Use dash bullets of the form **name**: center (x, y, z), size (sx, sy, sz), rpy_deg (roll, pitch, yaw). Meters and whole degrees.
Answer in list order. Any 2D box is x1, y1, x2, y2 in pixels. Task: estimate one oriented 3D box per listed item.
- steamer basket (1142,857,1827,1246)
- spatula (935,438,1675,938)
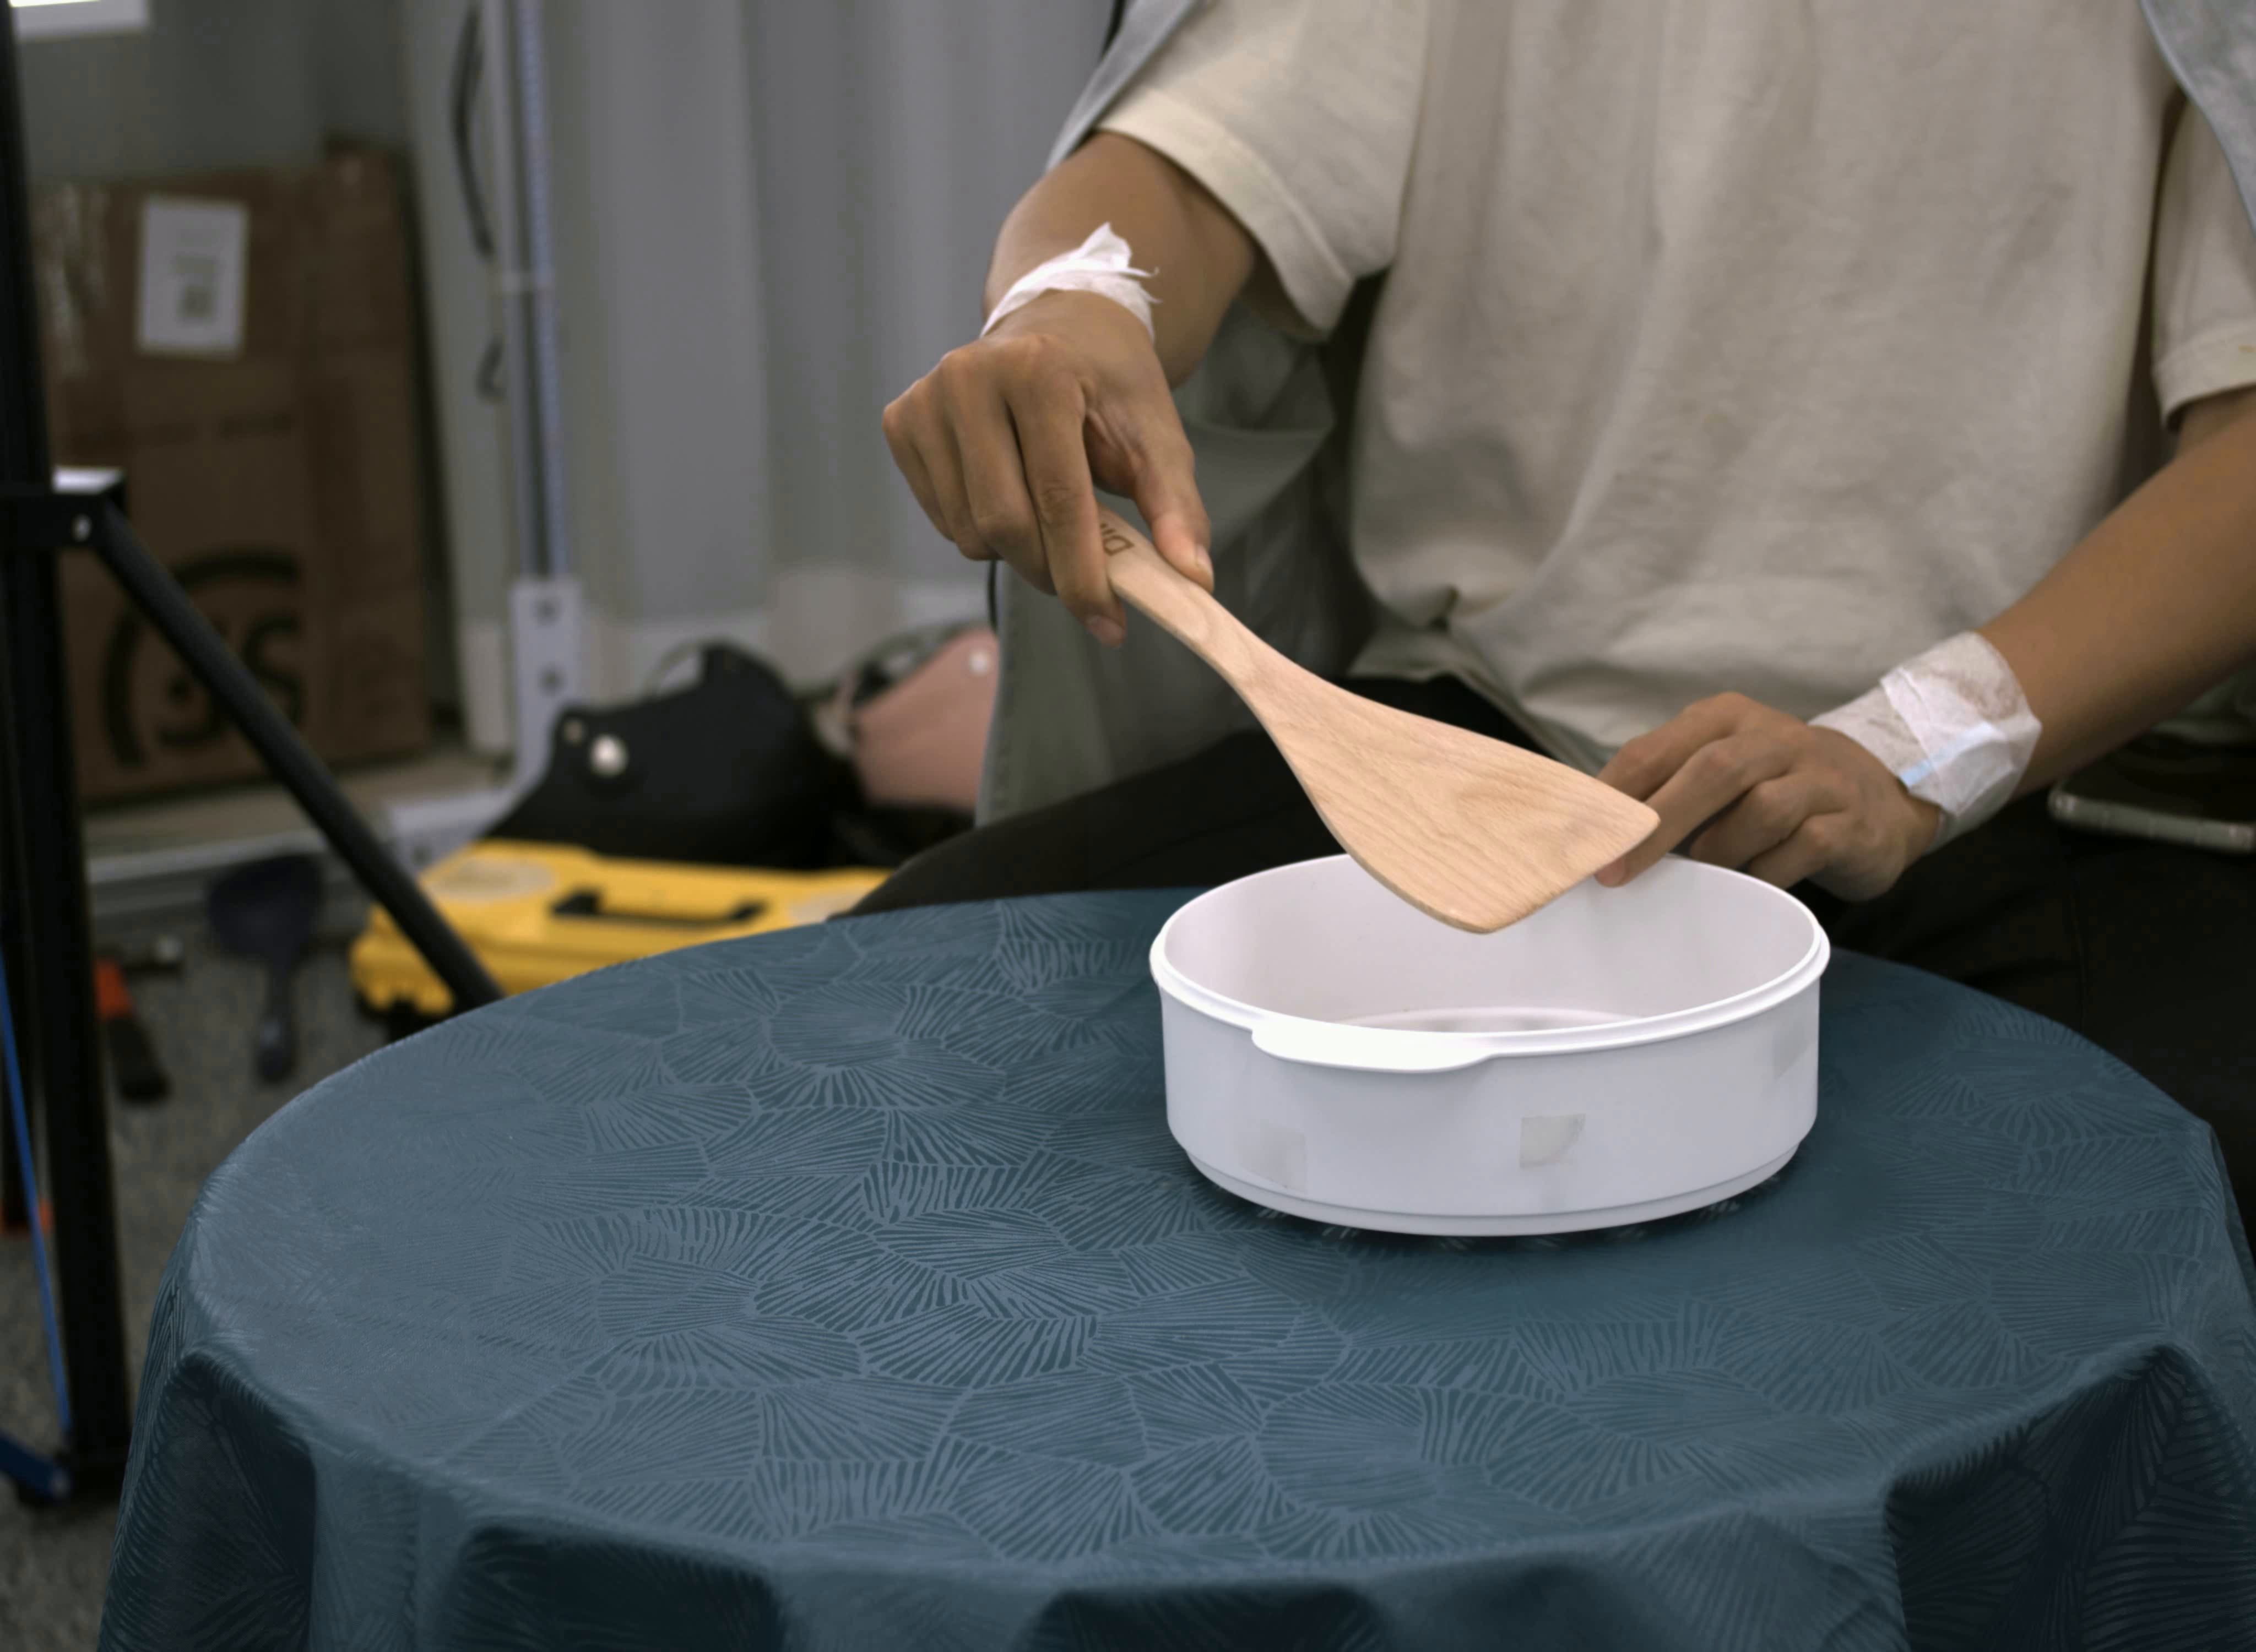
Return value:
- **steamer basket**: center (0.105, 0.066, 1.568), size (0.205, 0.069, 0.227), rpy_deg (6, 17, 25)
- **spatula**: center (0.040, -0.051, 1.601), size (0.078, 0.016, 0.335), rpy_deg (-24, 40, -26)
